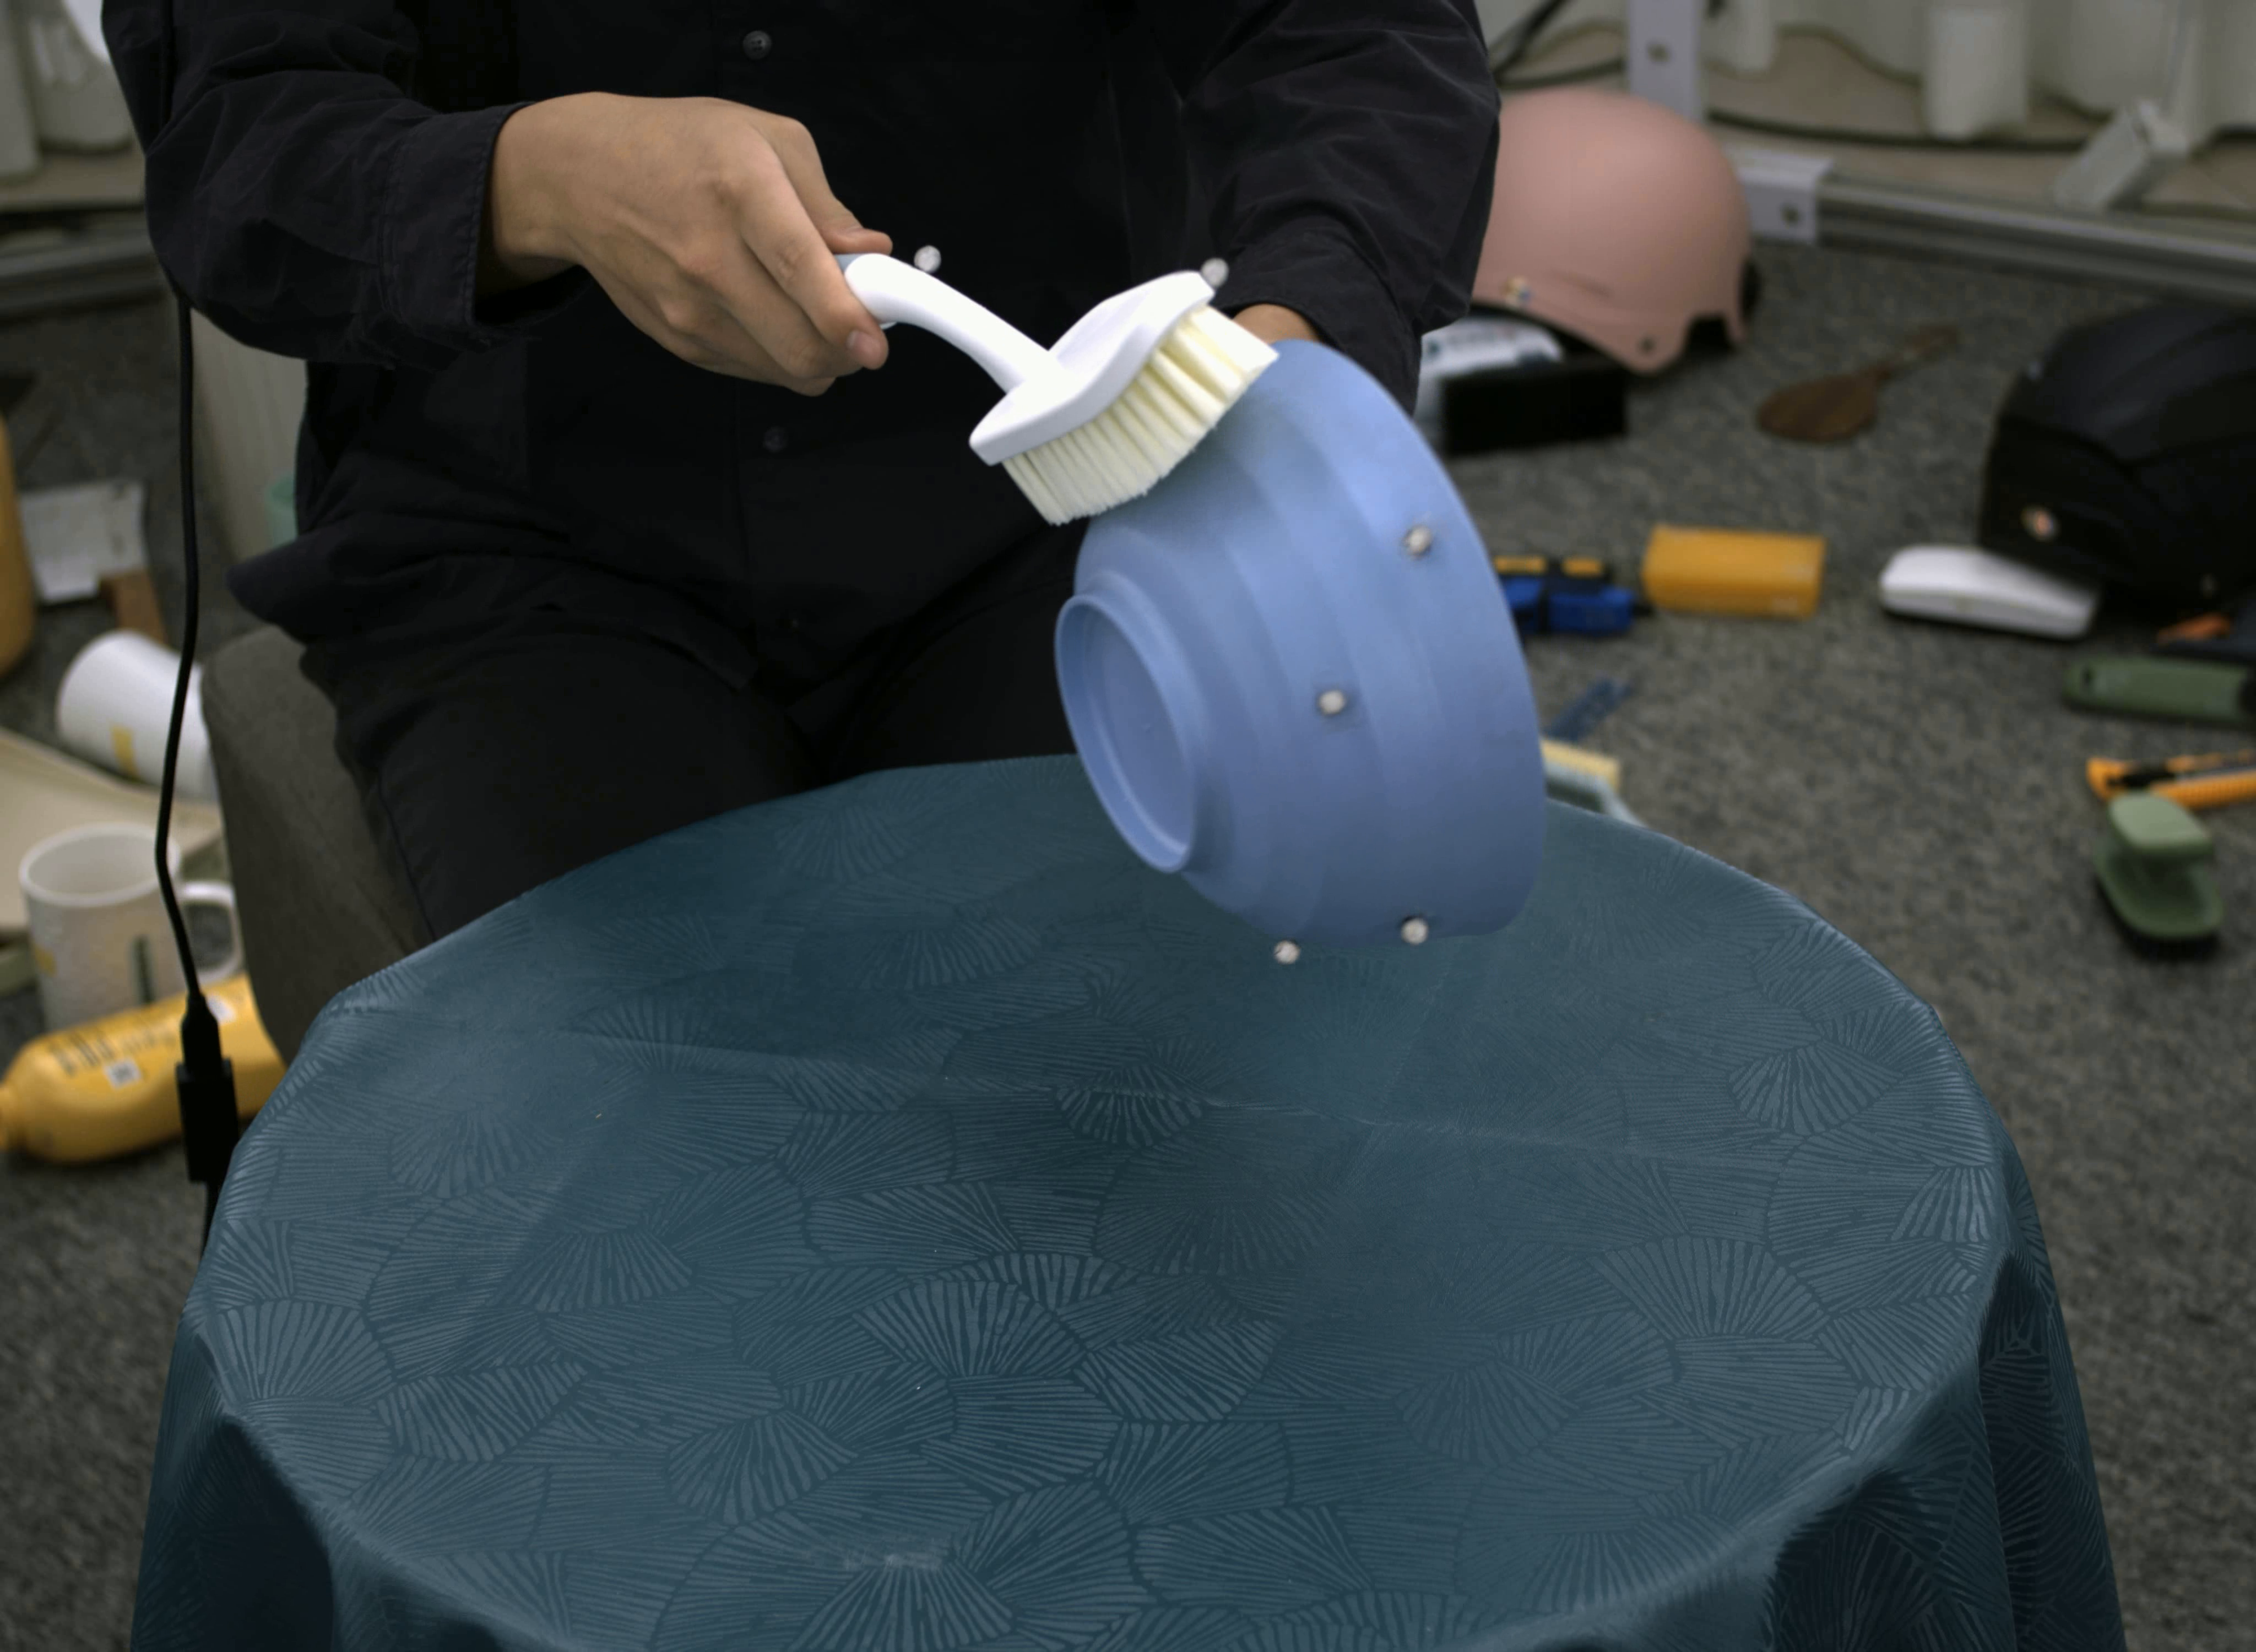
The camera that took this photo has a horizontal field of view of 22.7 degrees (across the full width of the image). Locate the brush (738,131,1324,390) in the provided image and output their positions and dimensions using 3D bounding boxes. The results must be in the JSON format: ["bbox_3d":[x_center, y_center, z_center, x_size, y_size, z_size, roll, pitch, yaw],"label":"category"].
[{"bbox_3d":[-0.026,-0.185,1.819,0.083,0.084,0.324,-11,10,-28],"label":"brush"}]

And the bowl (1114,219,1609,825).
[{"bbox_3d":[0.058,-0.082,1.763,0.096,0.194,0.197,-21,32,-21],"label":"bowl"}]
